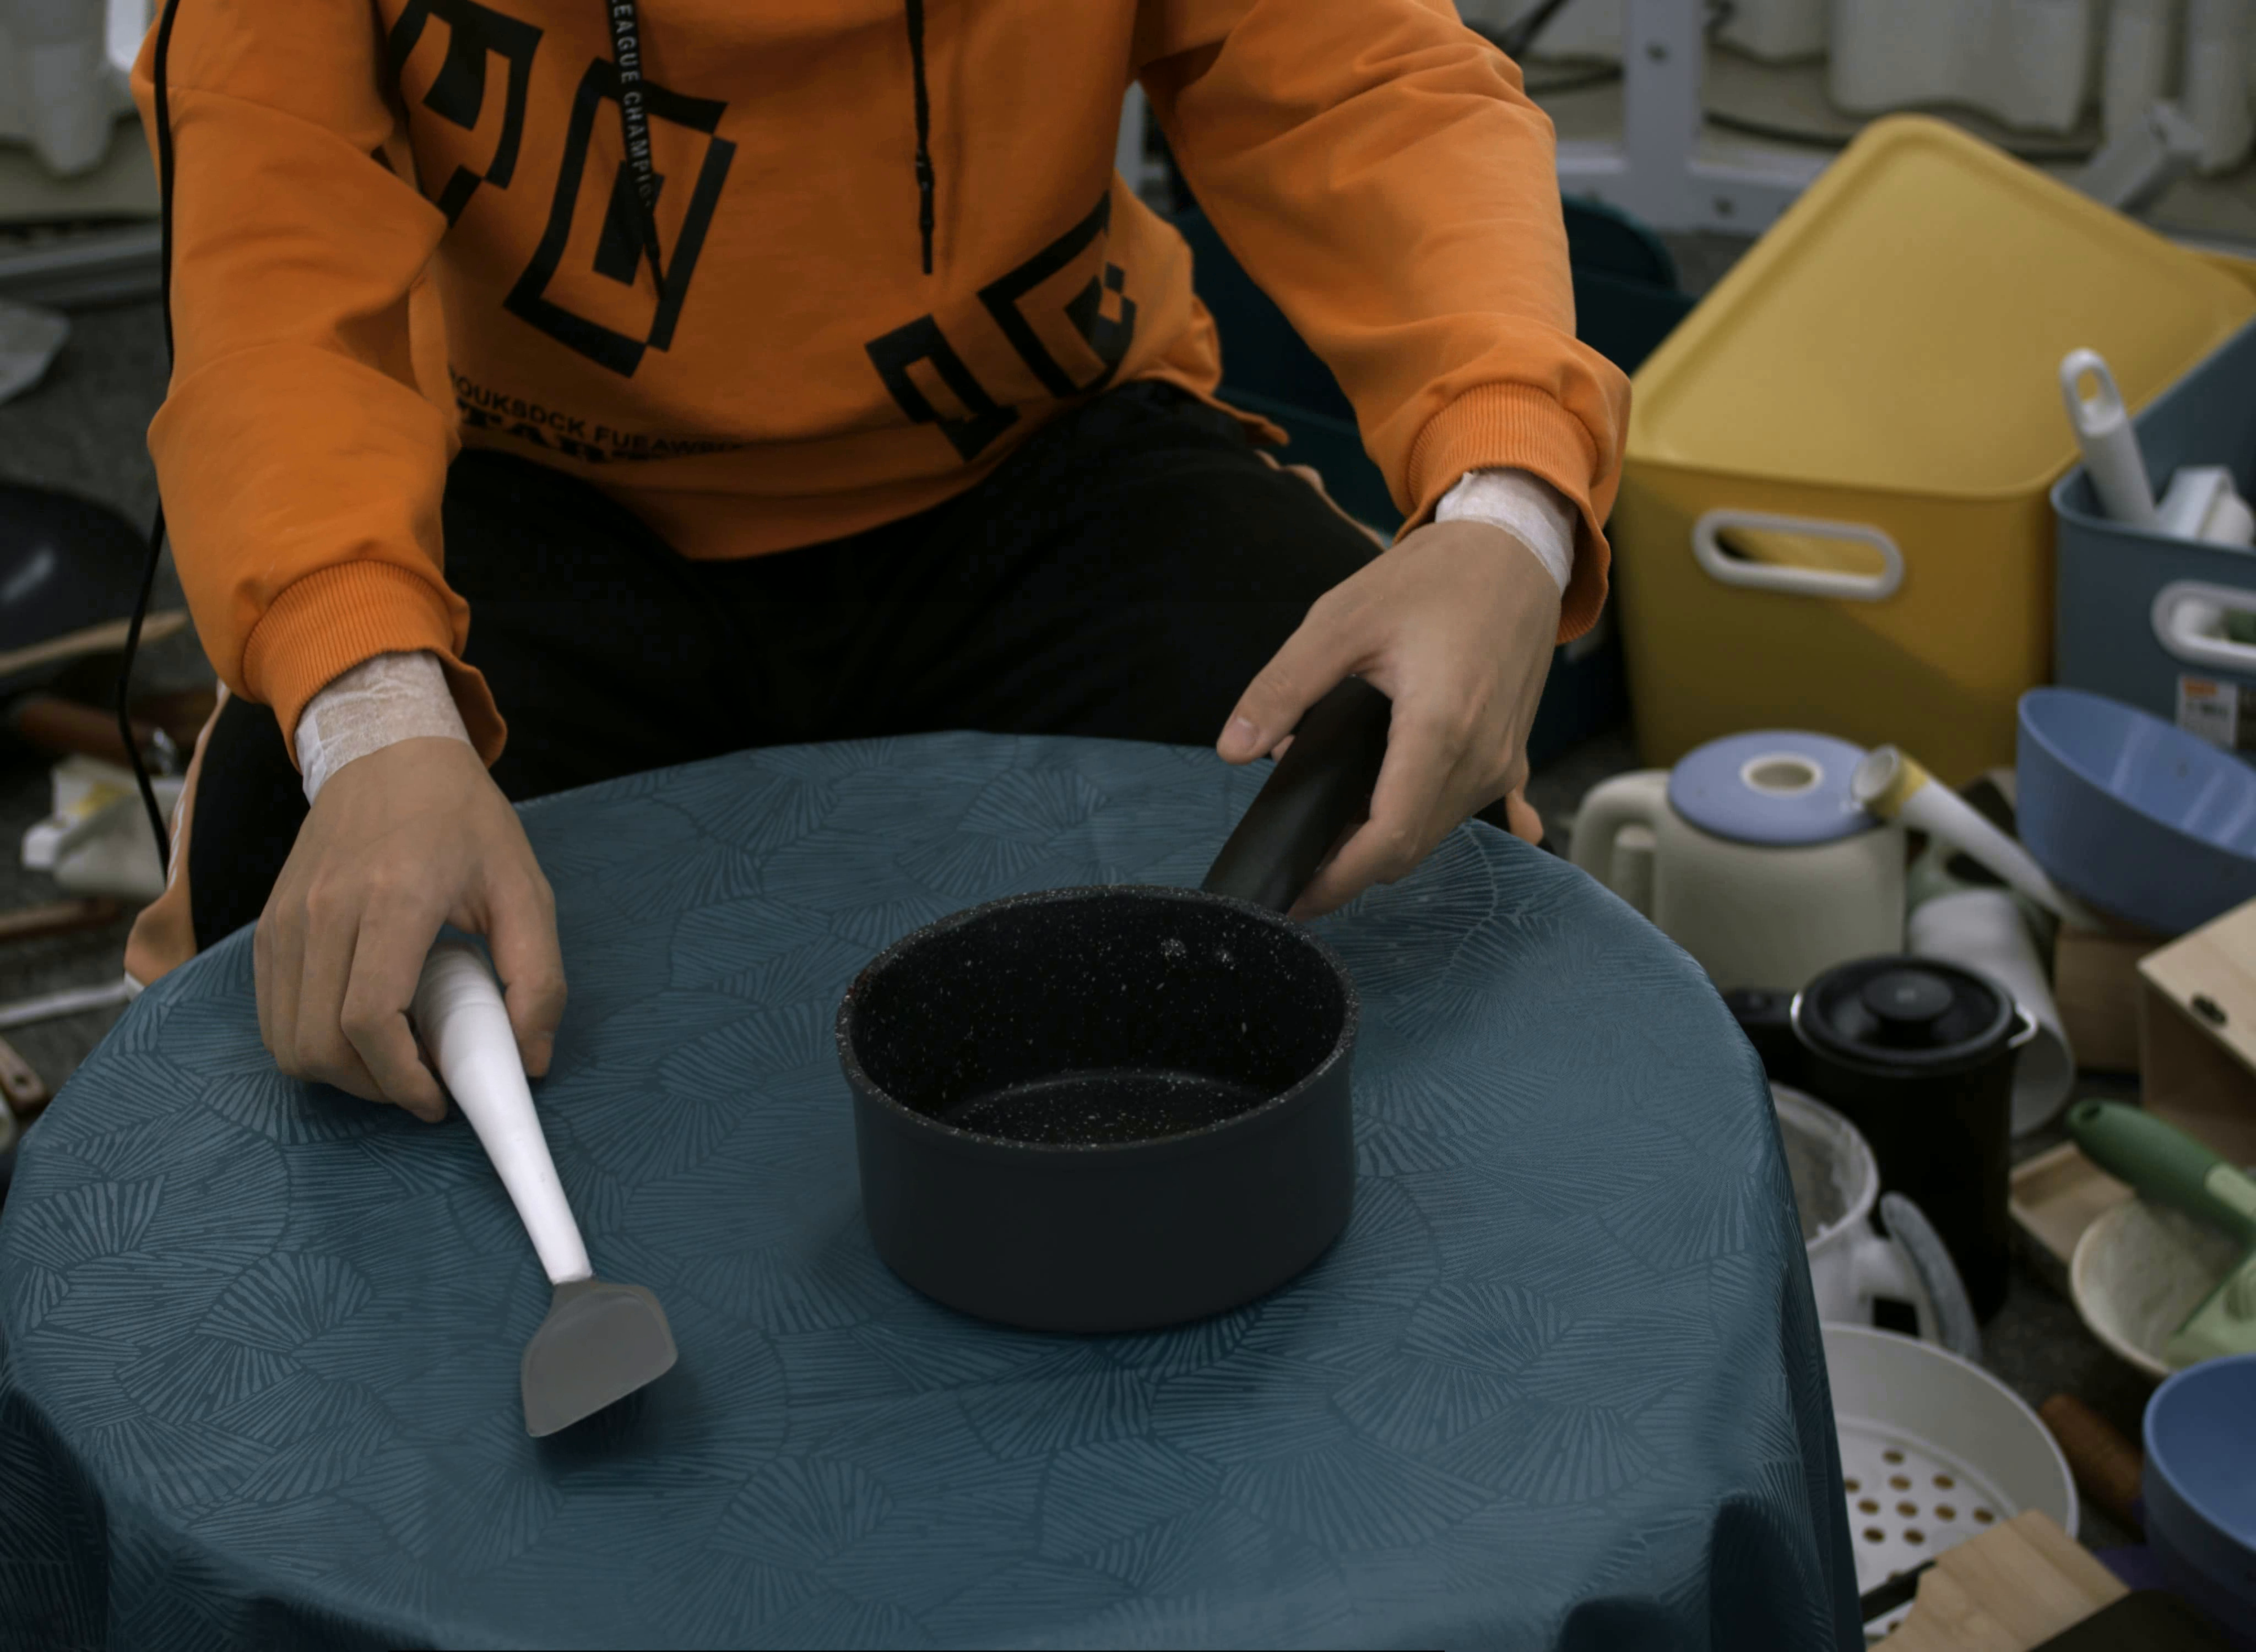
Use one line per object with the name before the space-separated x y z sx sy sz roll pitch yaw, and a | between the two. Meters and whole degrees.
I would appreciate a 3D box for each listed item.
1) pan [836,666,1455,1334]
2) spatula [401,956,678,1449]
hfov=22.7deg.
pan | 0.028 0.054 1.898 0.171 0.085 0.334 12 32 24
spatula | -0.197 0.123 1.845 0.058 0.032 0.290 -26 31 -4
